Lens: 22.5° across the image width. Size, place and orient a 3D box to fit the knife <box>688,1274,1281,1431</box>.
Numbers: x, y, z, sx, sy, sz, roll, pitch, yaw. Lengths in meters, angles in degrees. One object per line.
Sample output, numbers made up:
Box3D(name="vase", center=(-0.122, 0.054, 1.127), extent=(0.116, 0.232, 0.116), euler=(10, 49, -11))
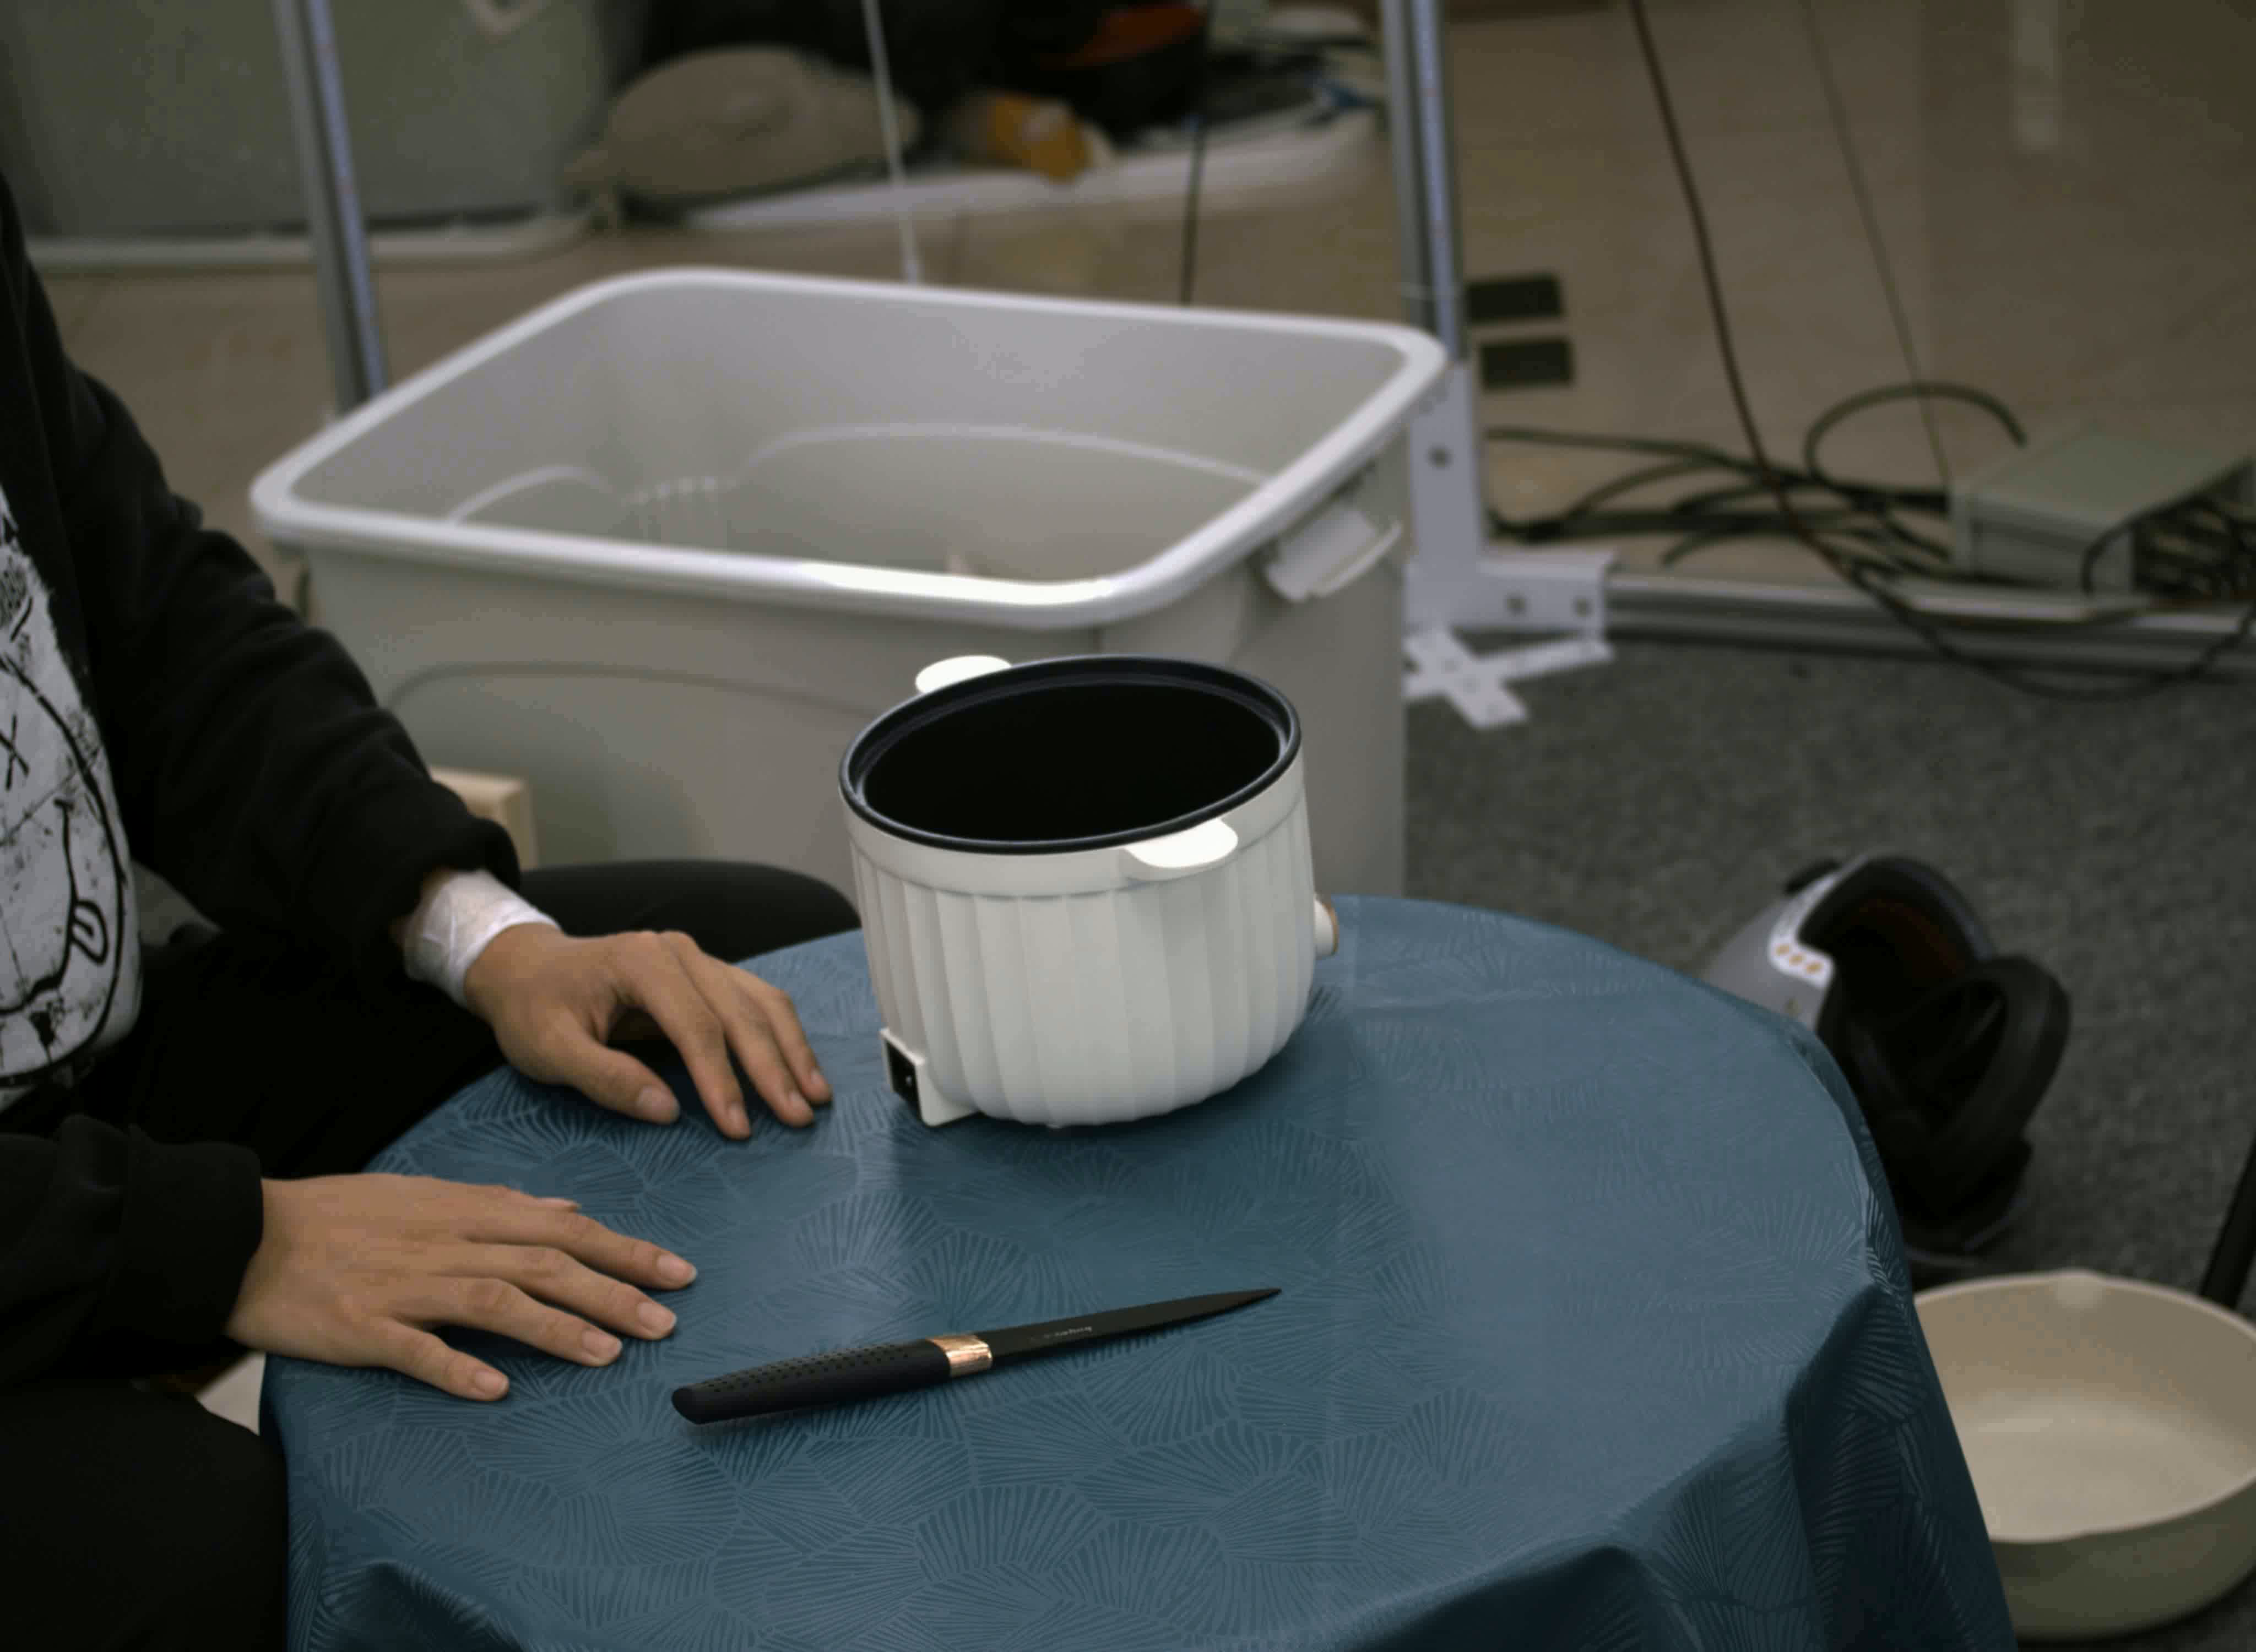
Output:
Box3D(name="knife", center=(-0.050, 0.188, 2.047), extent=(0.225, 0.017, 0.026), euler=(-11, 10, -13))

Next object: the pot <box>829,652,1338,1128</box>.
Box3D(name="pot", center=(-0.012, 0.027, 2.226), extent=(0.189, 0.145, 0.237), euler=(-20, 30, -20))
